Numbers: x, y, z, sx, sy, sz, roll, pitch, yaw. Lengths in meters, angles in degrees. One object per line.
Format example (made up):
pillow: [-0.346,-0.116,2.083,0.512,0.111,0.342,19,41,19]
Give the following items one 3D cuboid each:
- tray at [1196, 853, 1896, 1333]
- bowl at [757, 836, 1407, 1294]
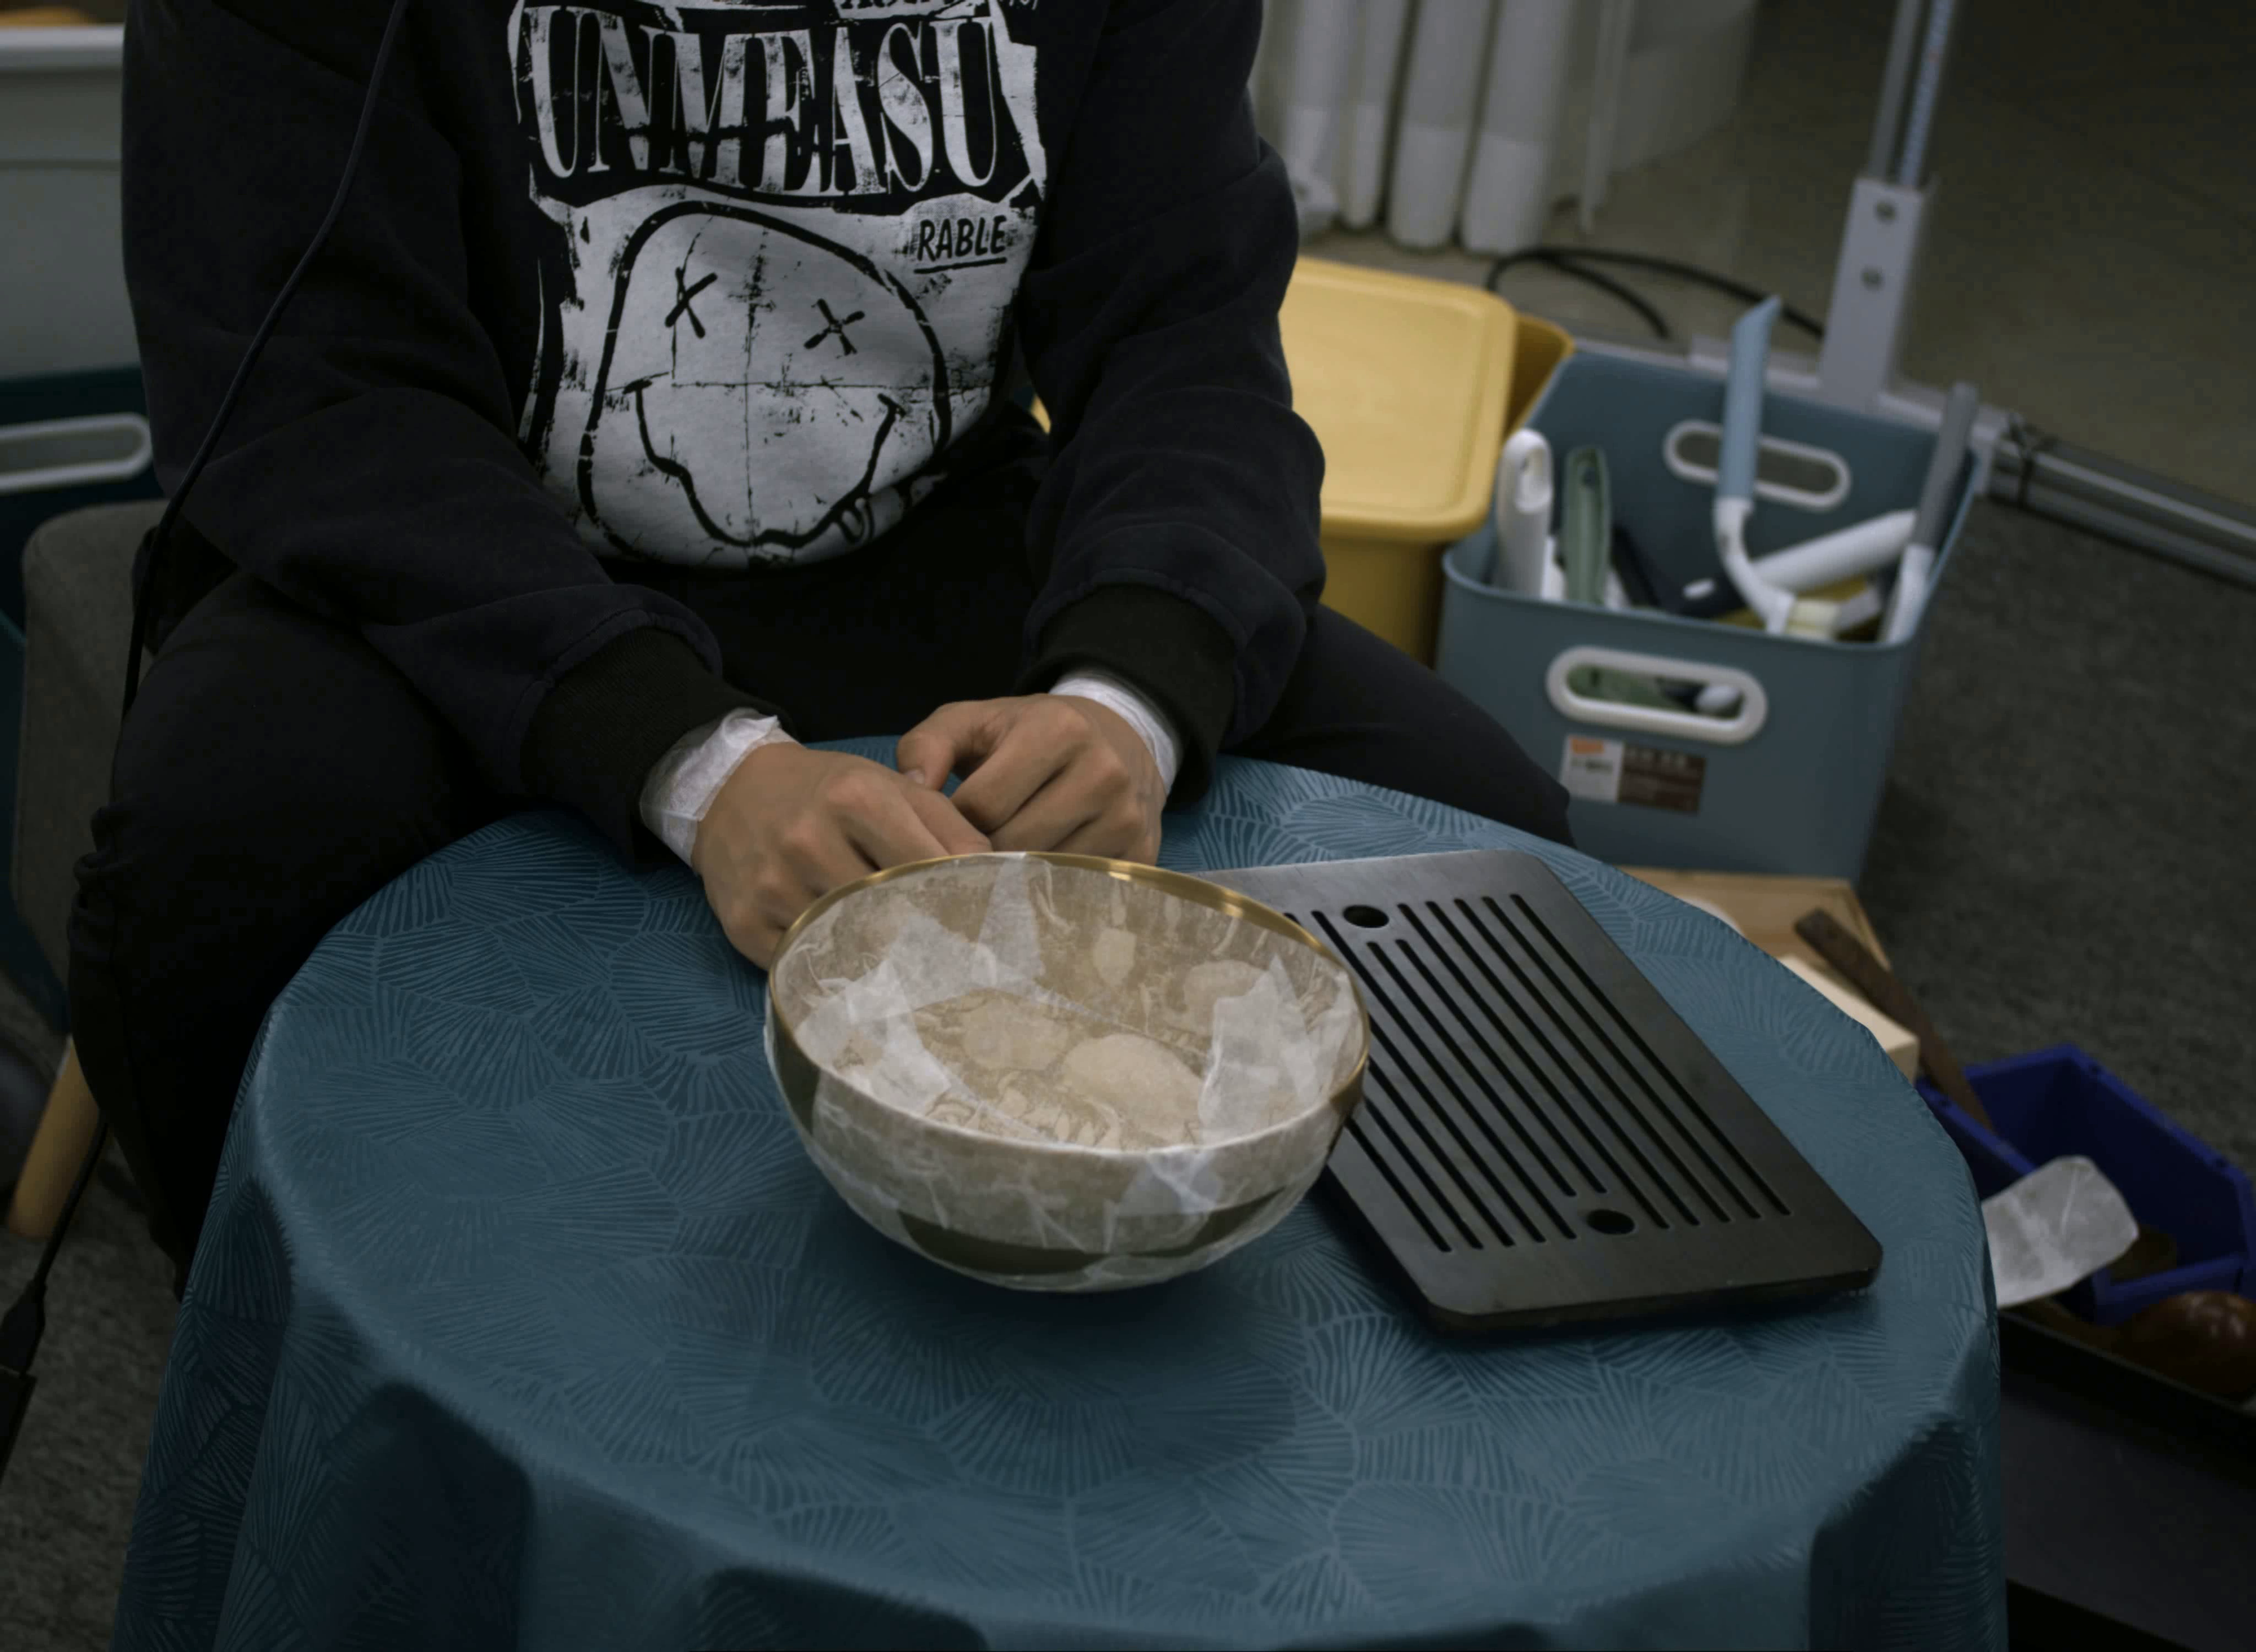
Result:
tray: [0.130,0.091,1.875,0.169,0.018,0.308,-4,28,-20]
bowl: [-0.021,0.091,1.756,0.214,0.094,0.216,4,27,-2]
